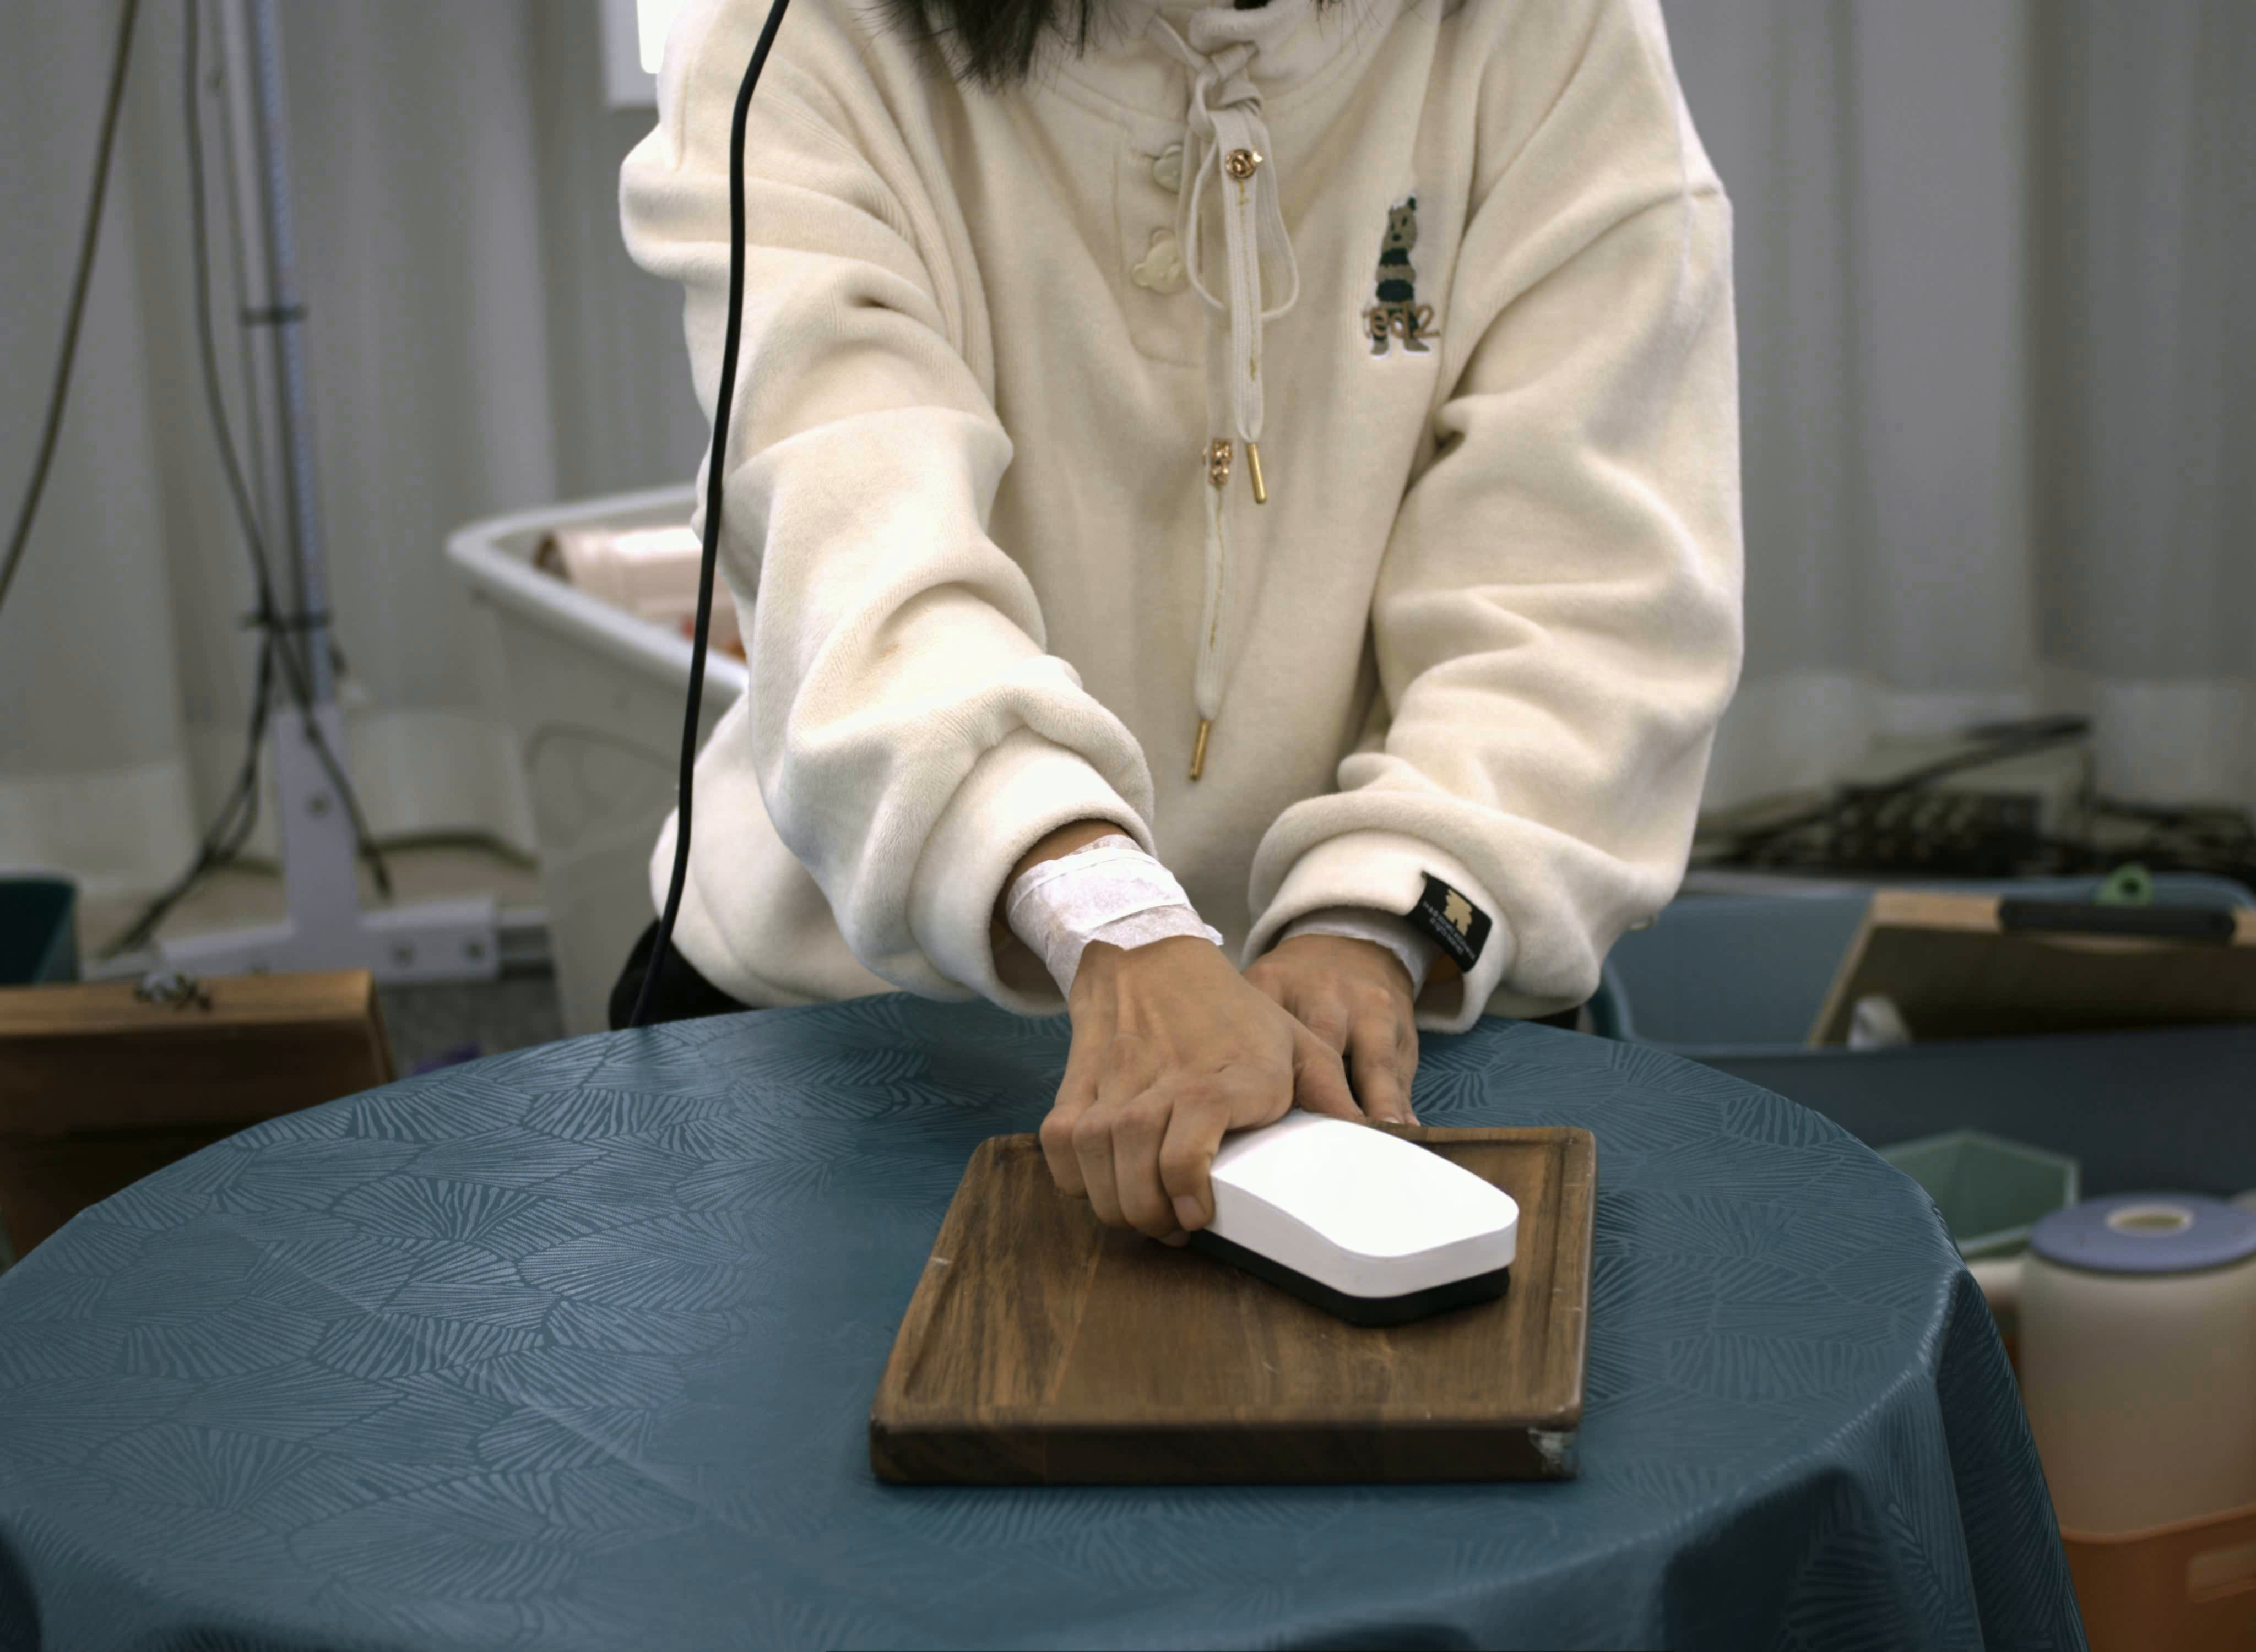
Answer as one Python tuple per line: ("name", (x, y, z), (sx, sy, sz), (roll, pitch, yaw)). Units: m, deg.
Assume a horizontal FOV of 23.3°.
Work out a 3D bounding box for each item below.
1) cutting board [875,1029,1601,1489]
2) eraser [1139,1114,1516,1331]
("cutting board", (0.042, 0.123, 1.634), (0.200, 0.023, 0.354), (-1, 15, 6))
("eraser", (0.058, 0.112, 1.597), (0.063, 0.034, 0.132), (-11, 17, -28))
